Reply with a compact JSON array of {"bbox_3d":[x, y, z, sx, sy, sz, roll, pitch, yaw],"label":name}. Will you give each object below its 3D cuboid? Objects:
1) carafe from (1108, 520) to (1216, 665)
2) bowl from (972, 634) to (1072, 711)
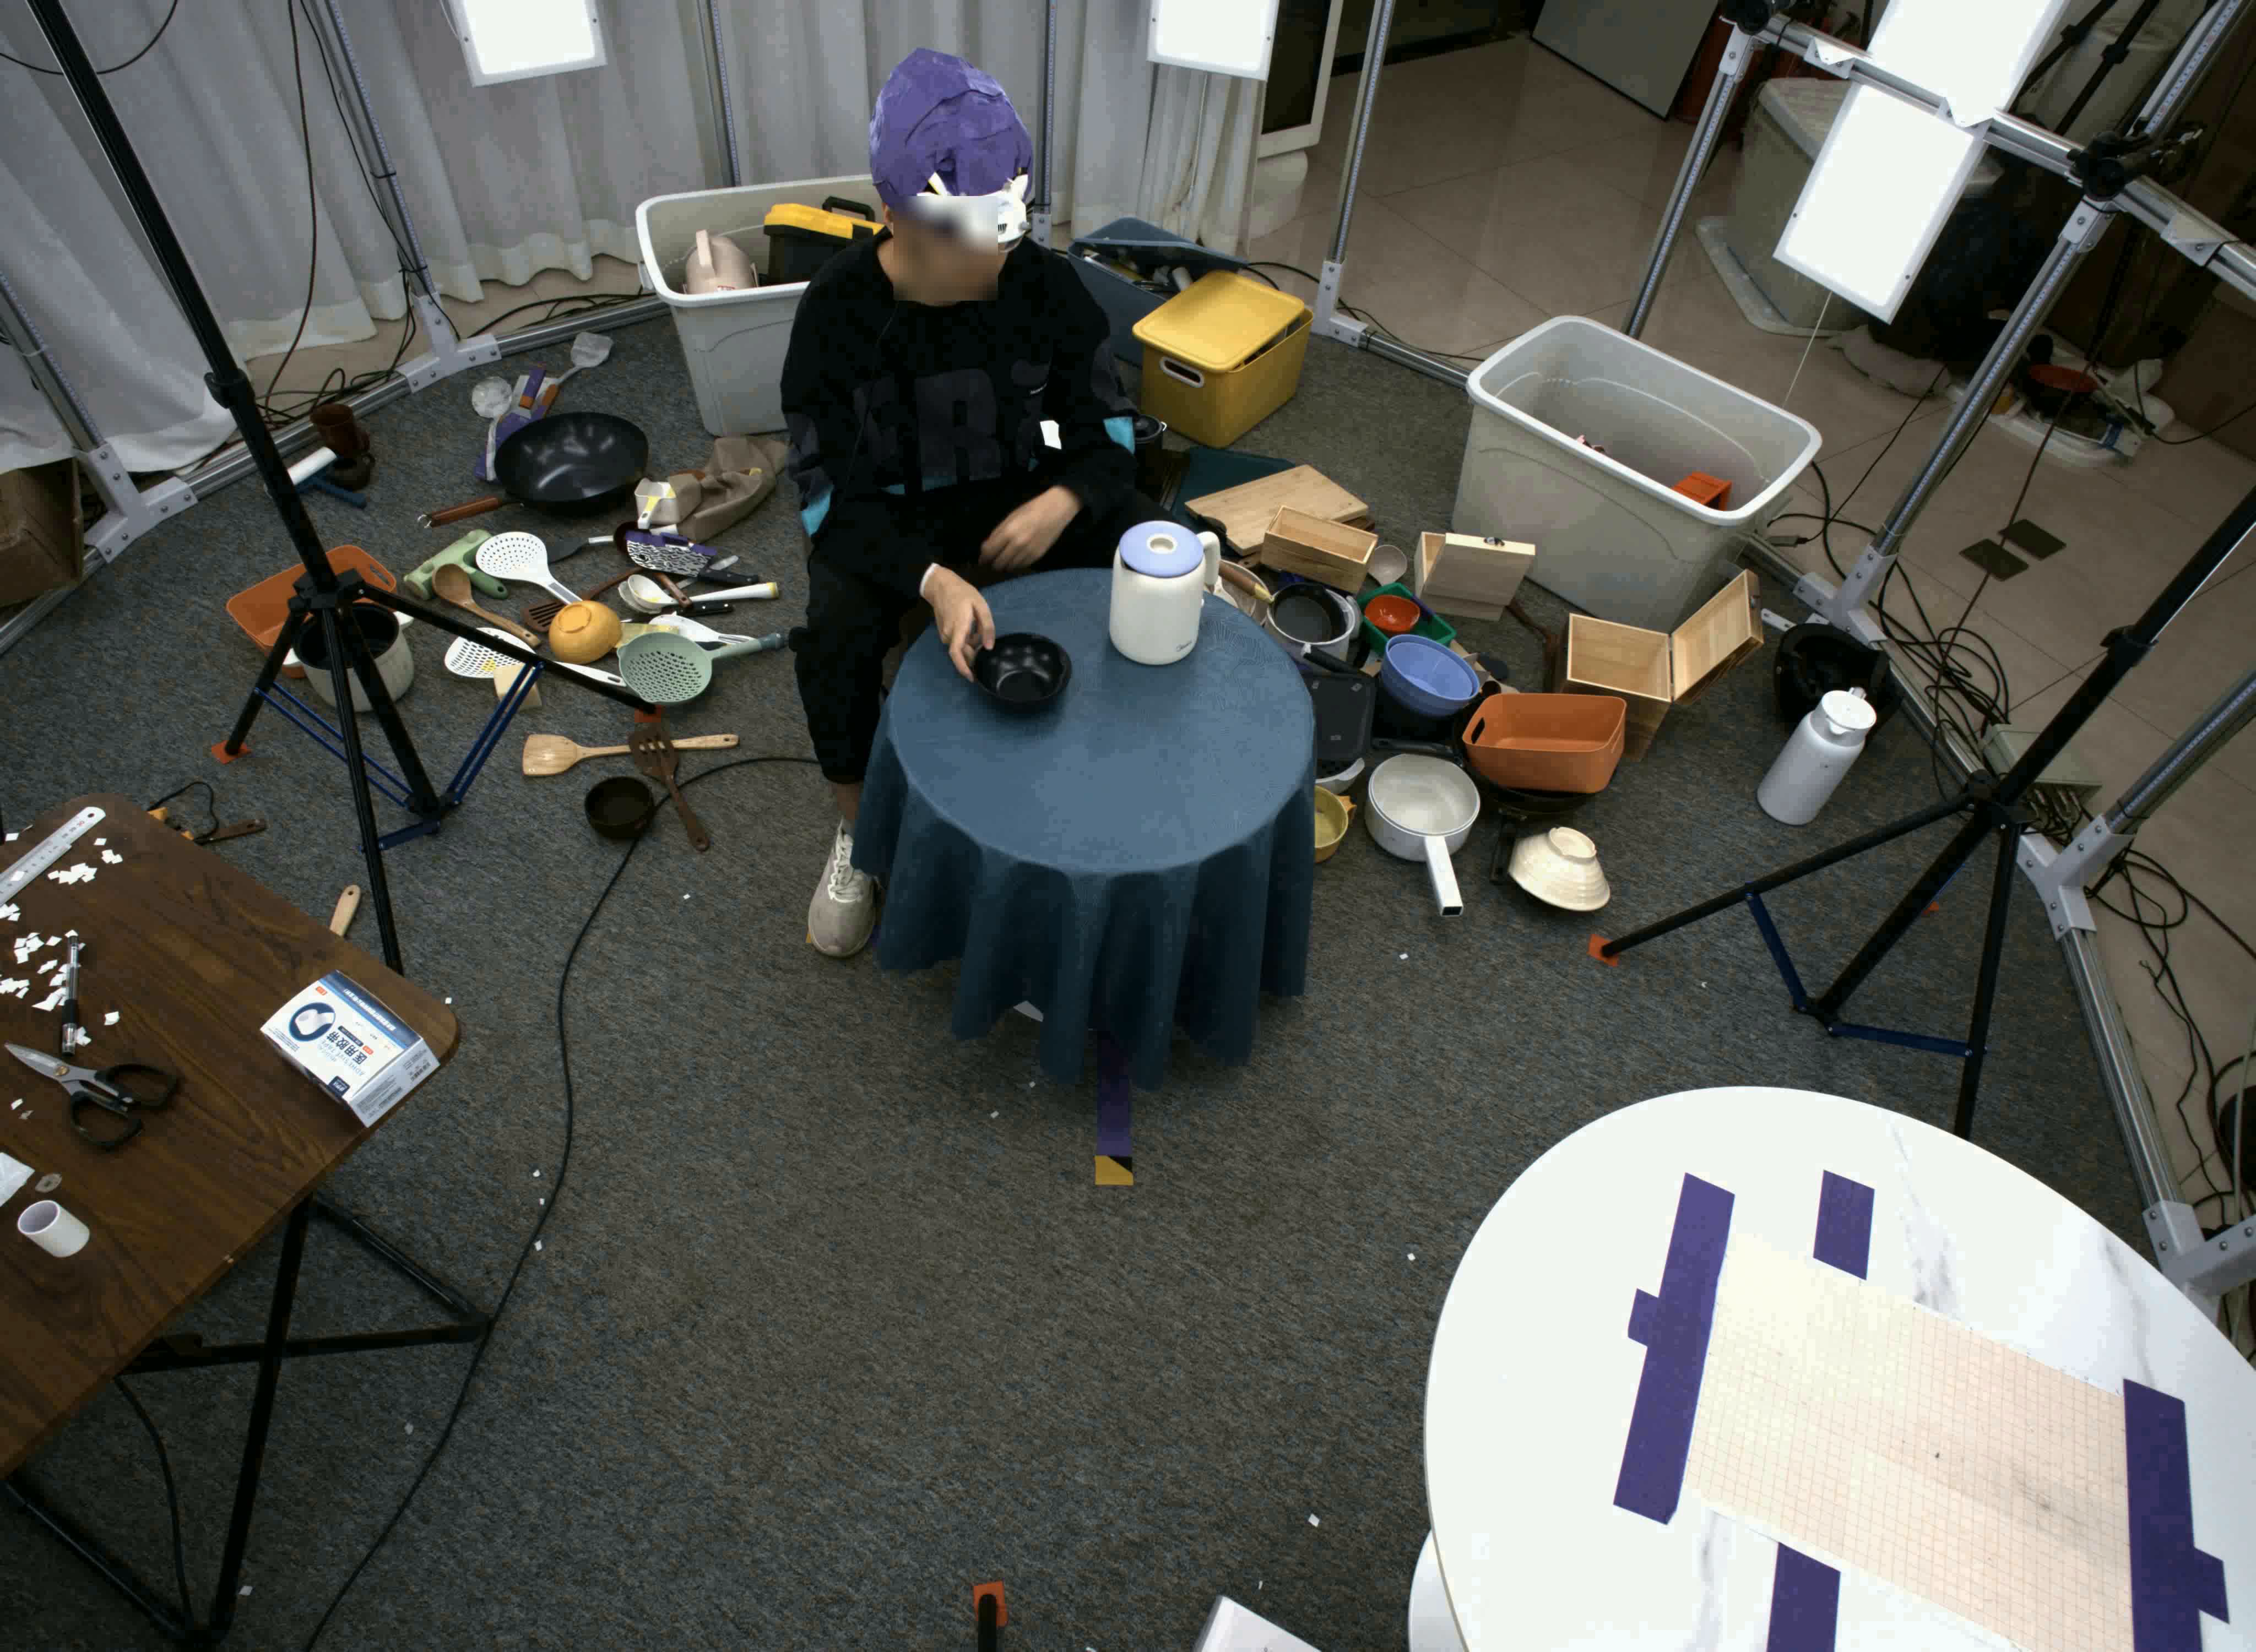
[{"bbox_3d":[0.059,-0.347,1.863,0.192,0.178,0.134,-32,60,-30],"label":"carafe"},{"bbox_3d":[-0.147,-0.207,1.807,0.140,0.048,0.143,1,47,-1],"label":"bowl"}]
